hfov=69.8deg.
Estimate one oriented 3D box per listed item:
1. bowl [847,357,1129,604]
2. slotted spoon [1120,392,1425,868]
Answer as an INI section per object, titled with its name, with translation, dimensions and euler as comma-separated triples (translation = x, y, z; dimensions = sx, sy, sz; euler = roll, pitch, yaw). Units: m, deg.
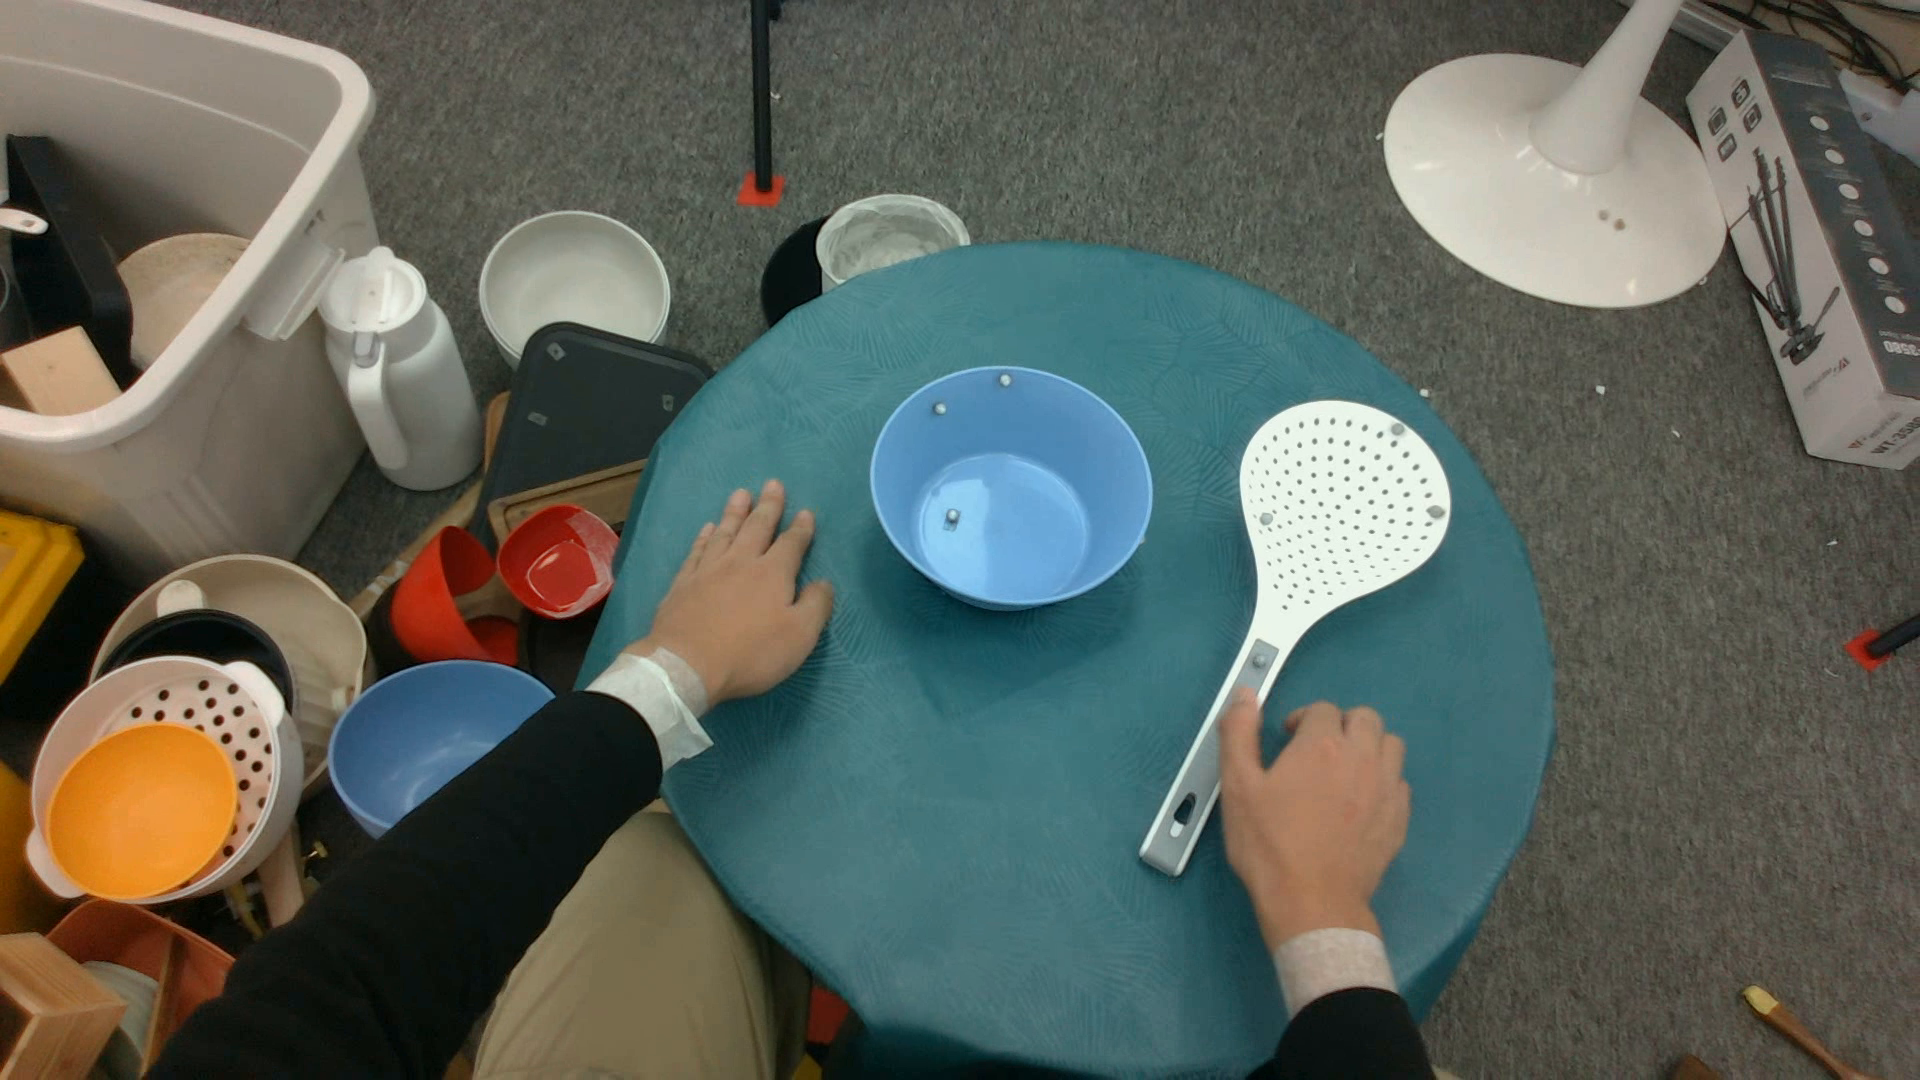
[bowl]
translation = 0.015, -0.027, 0.873
dimensions = 0.176, 0.070, 0.177
euler = 3, 60, -6
[slotted spoon]
translation = 0.187, 0.049, 0.866
dimensions = 0.136, 0.045, 0.351
euler = 27, 61, 9
